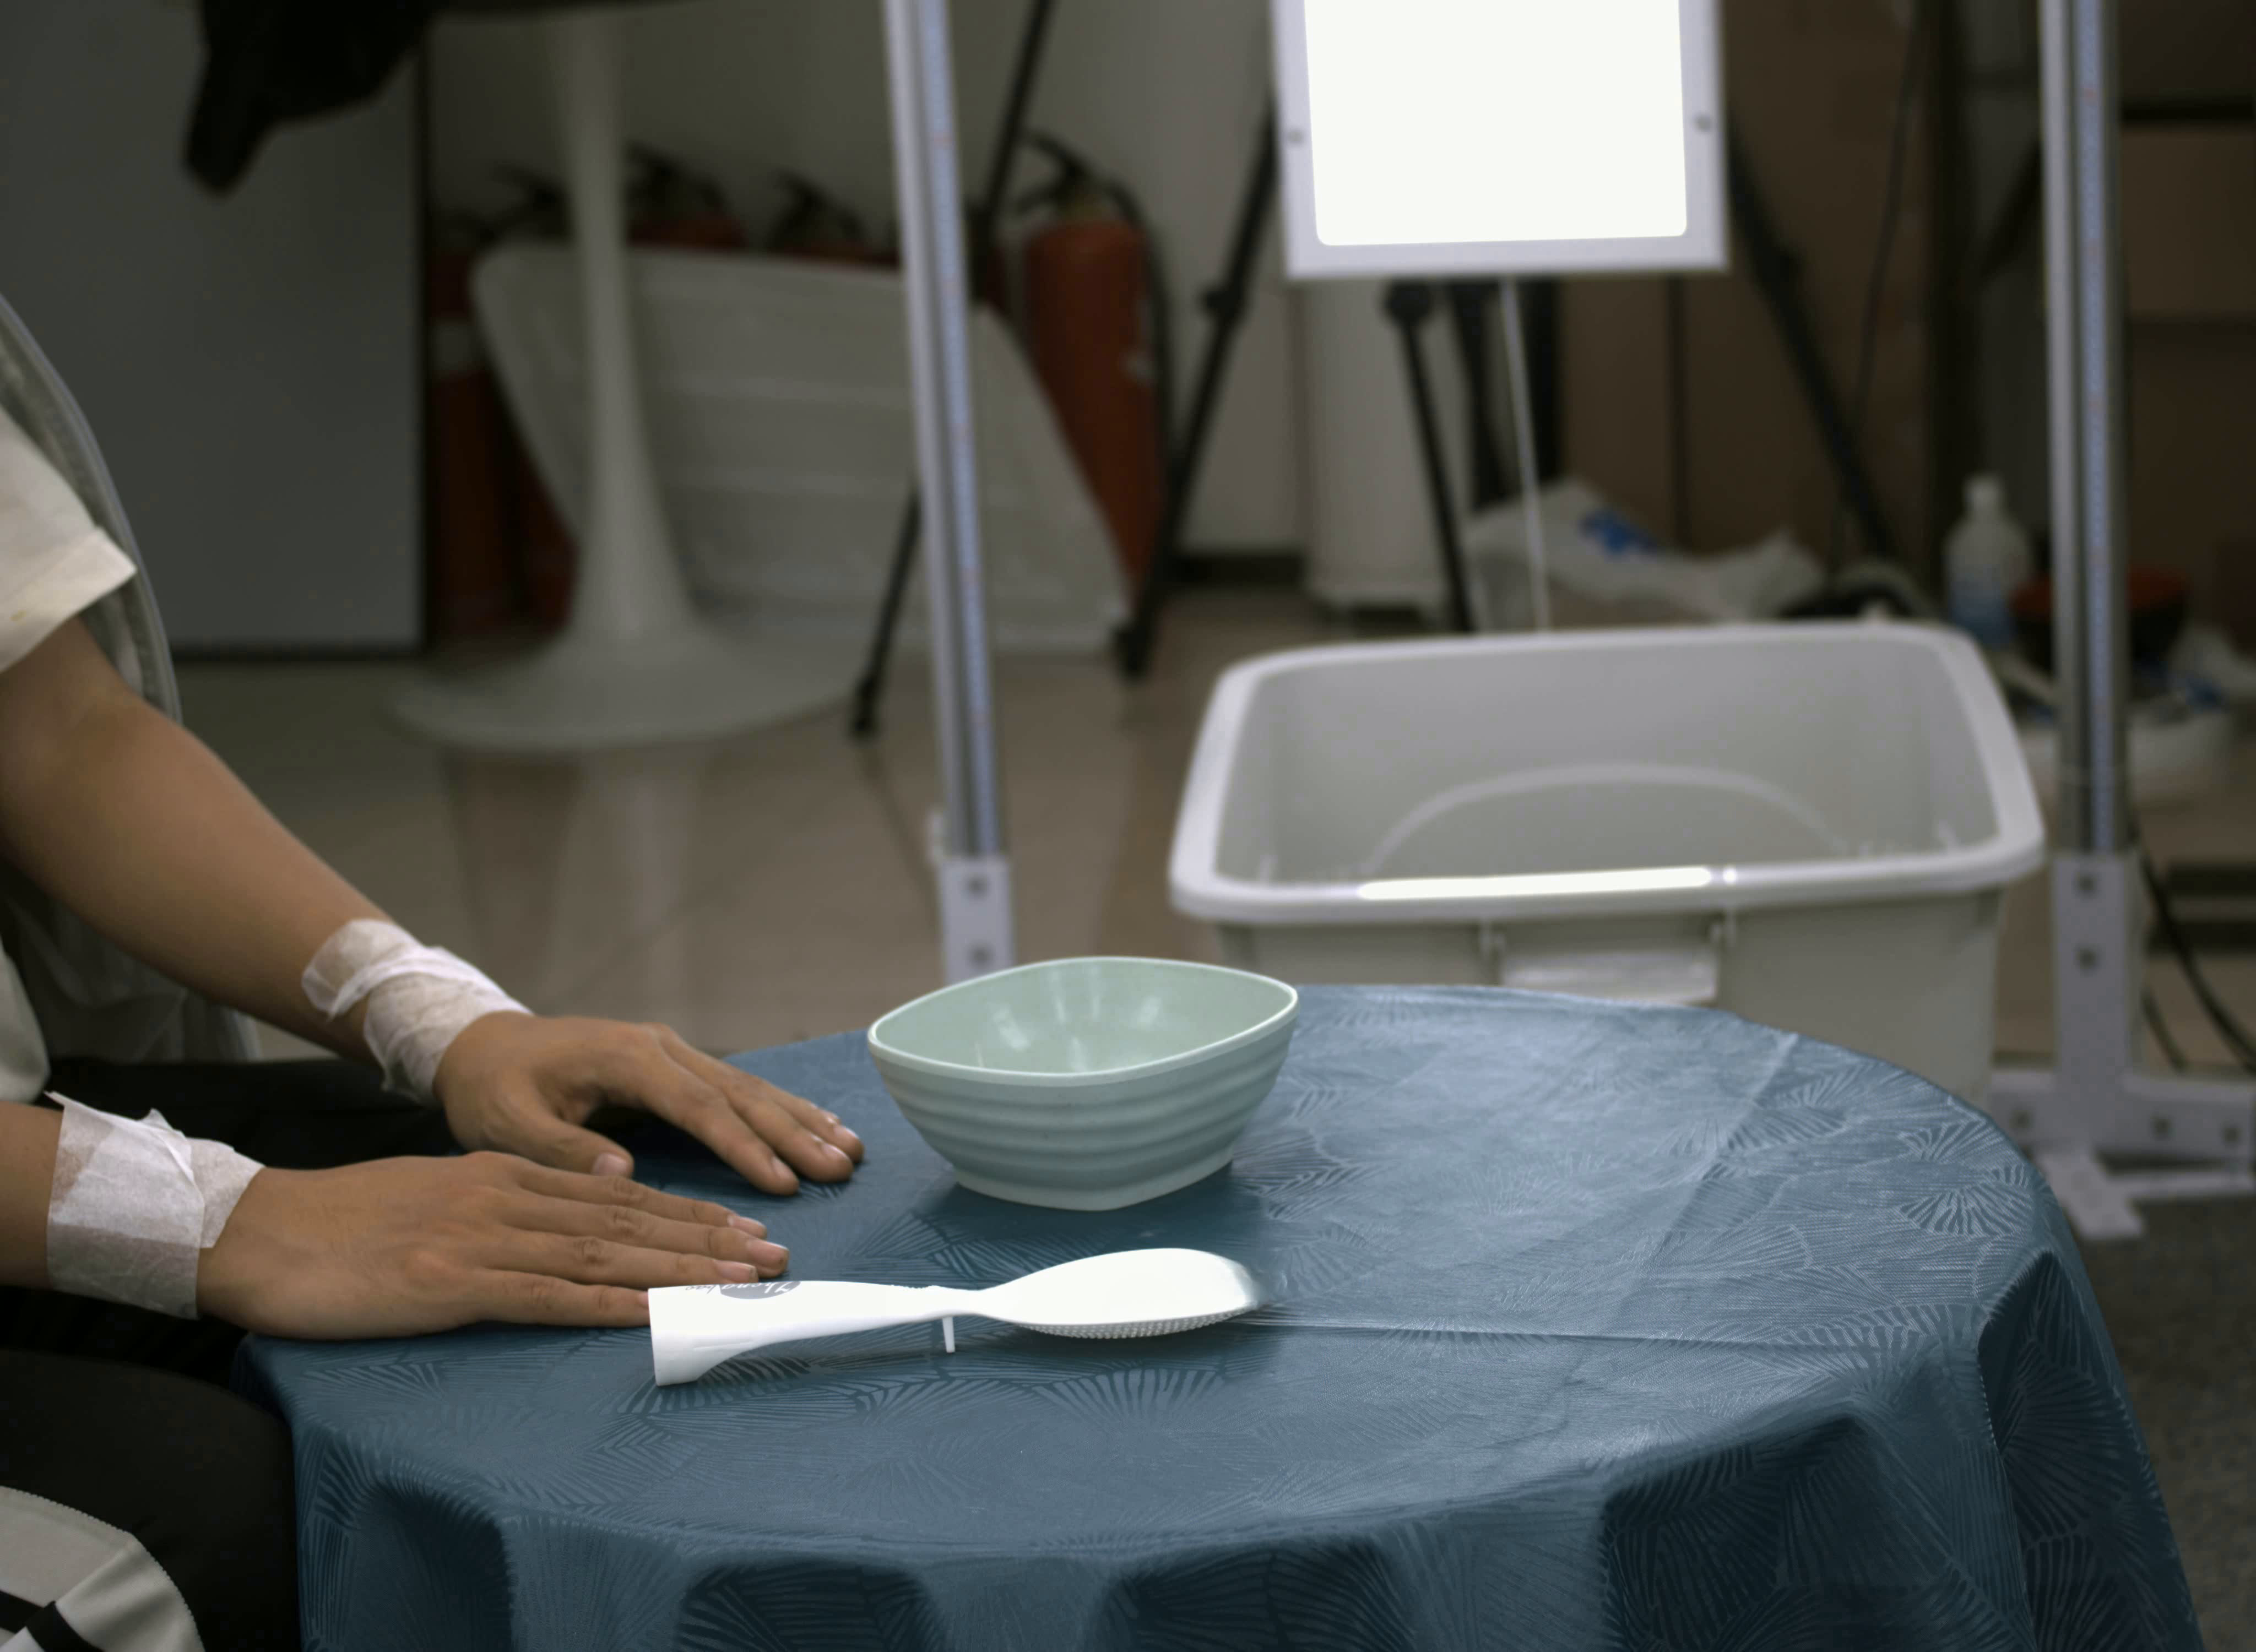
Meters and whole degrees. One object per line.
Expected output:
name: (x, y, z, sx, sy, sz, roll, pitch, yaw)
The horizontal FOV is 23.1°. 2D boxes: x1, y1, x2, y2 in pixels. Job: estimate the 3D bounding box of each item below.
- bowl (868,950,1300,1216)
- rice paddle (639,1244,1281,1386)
bowl: (-0.014, 0.093, 1.921, 0.151, 0.059, 0.151, -4, 16, 0)
rice paddle: (-0.052, 0.151, 1.752, 0.204, 0.029, 0.069, -6, 15, -2)
